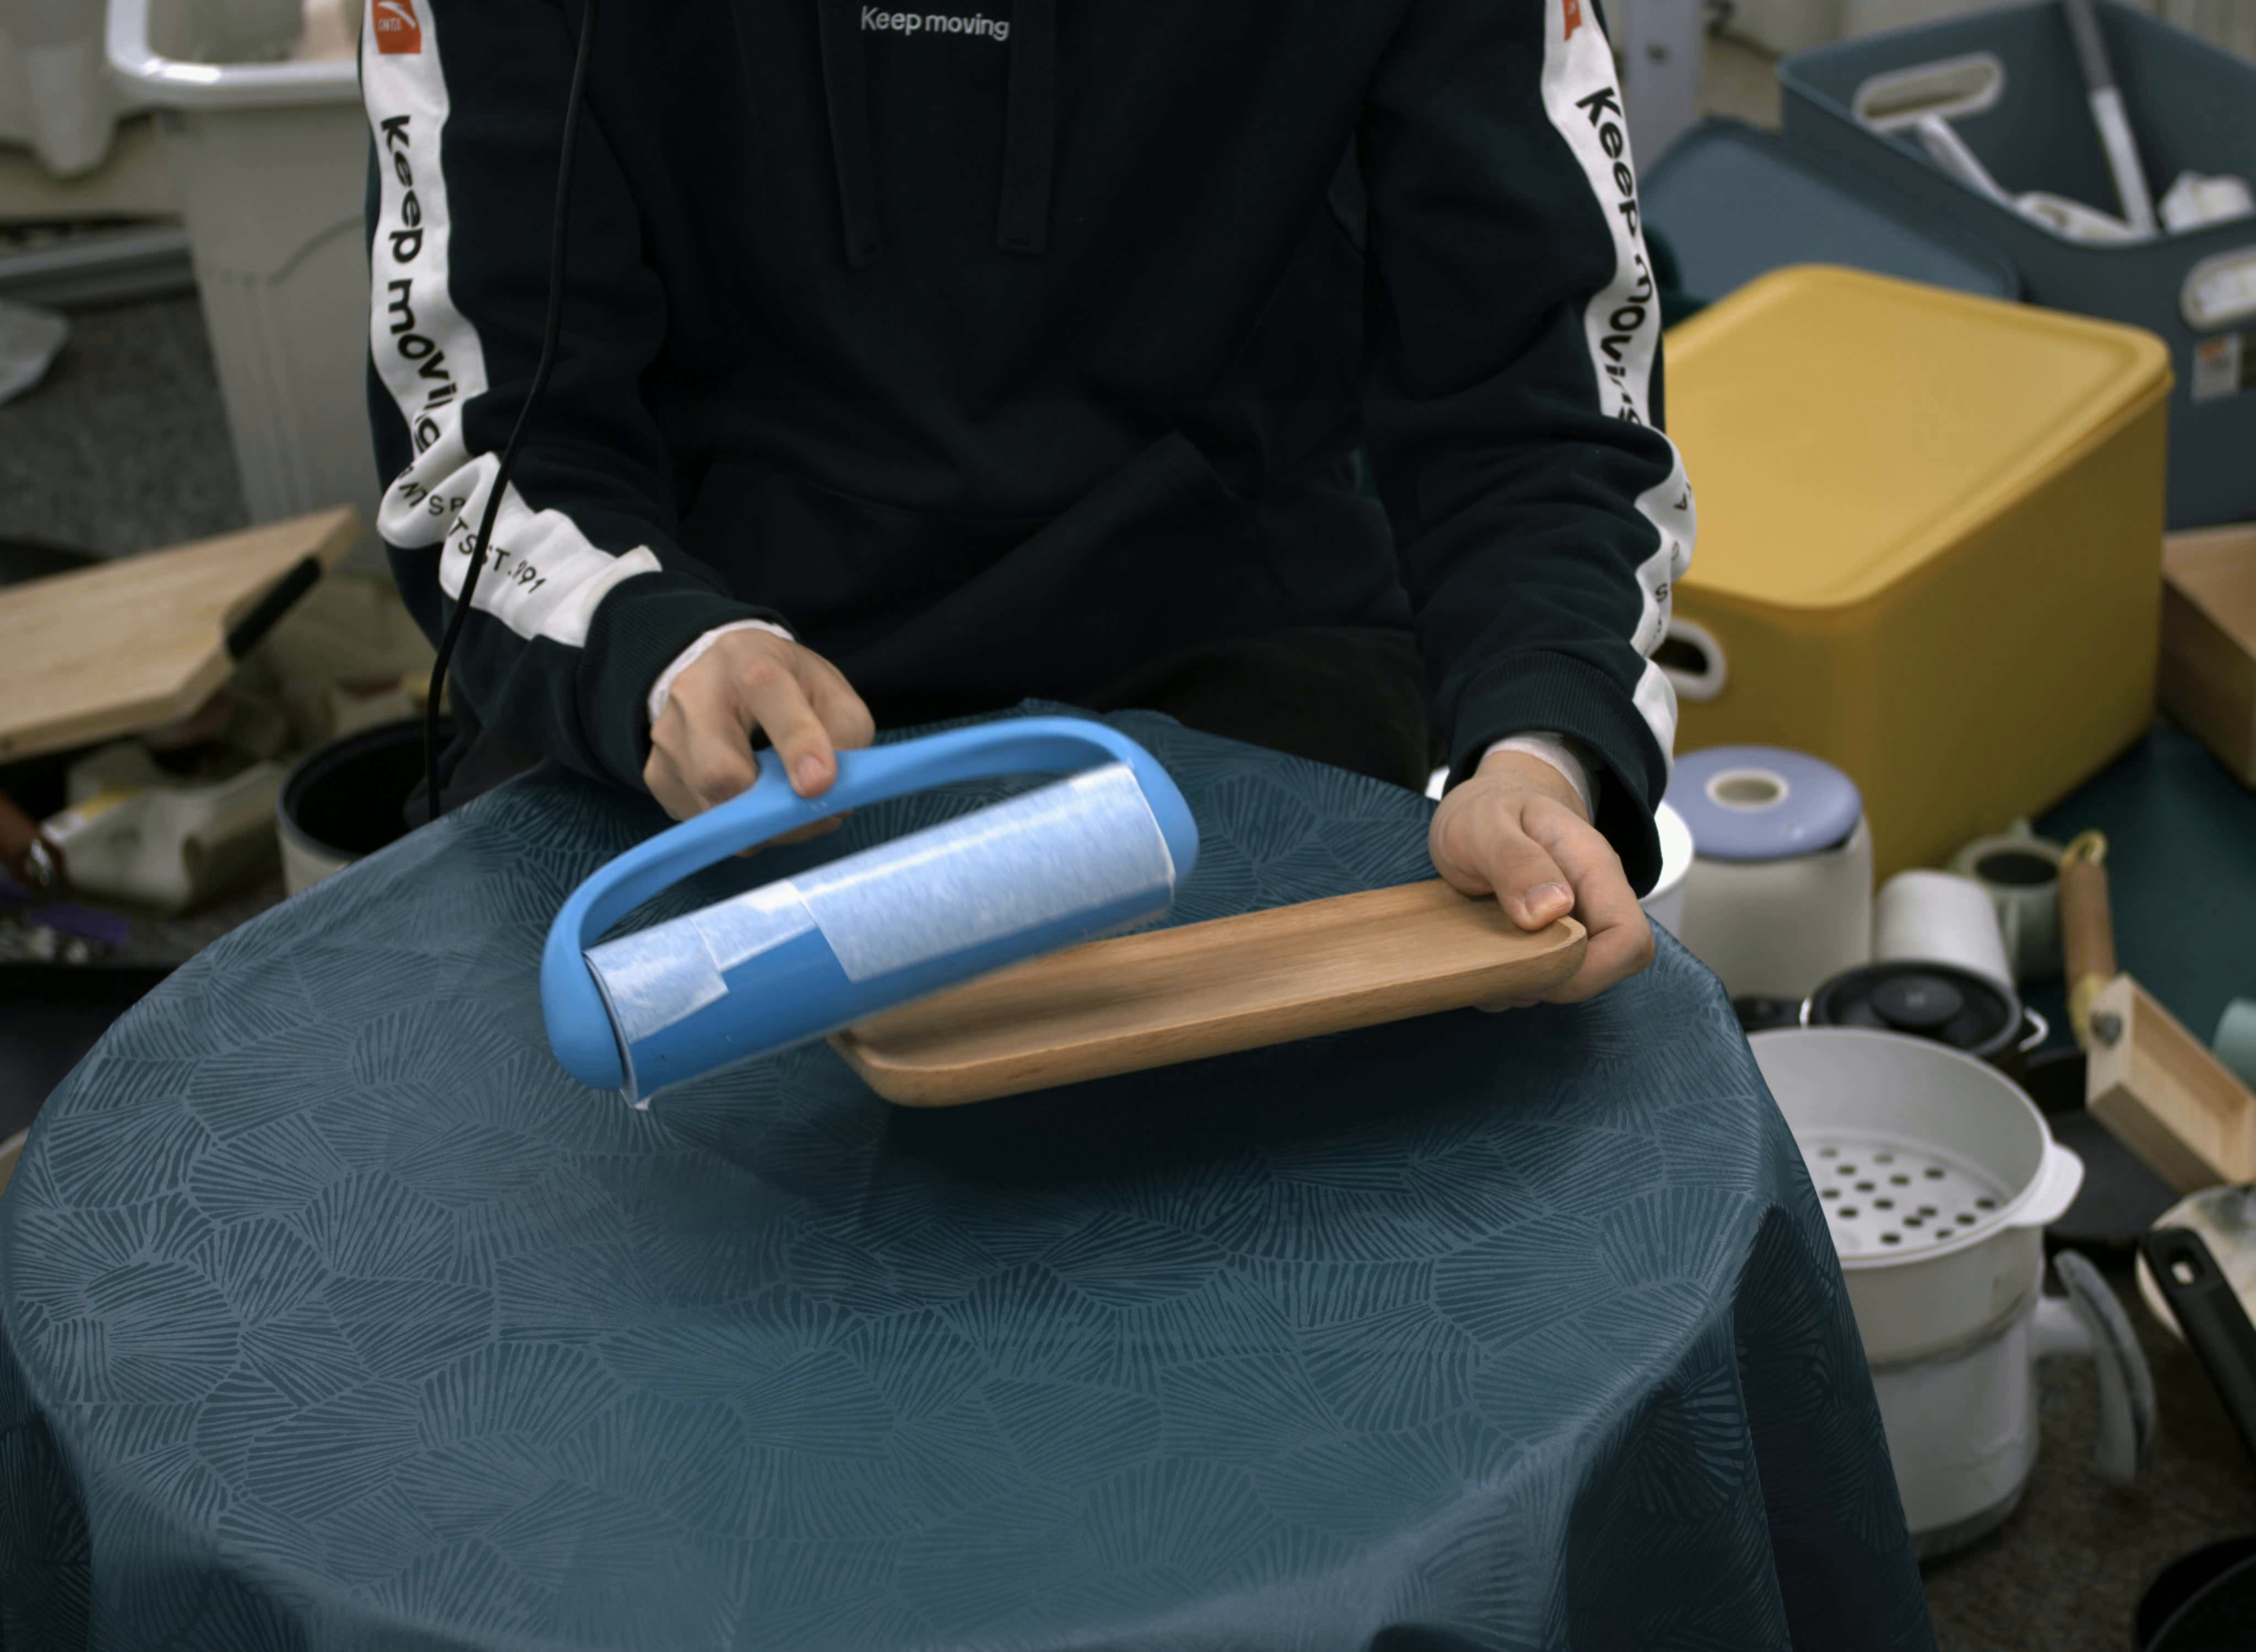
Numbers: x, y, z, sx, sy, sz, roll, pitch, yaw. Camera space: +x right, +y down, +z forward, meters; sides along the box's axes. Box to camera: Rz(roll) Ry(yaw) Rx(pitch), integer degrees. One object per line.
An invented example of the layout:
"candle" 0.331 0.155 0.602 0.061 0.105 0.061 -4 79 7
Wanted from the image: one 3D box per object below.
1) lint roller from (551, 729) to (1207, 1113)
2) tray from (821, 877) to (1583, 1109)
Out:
"lint roller" -0.105 0.010 1.899 0.230 0.067 0.181 -21 35 -17
"tray" 0.023 0.055 1.891 0.251 0.023 0.130 -11 11 -13
